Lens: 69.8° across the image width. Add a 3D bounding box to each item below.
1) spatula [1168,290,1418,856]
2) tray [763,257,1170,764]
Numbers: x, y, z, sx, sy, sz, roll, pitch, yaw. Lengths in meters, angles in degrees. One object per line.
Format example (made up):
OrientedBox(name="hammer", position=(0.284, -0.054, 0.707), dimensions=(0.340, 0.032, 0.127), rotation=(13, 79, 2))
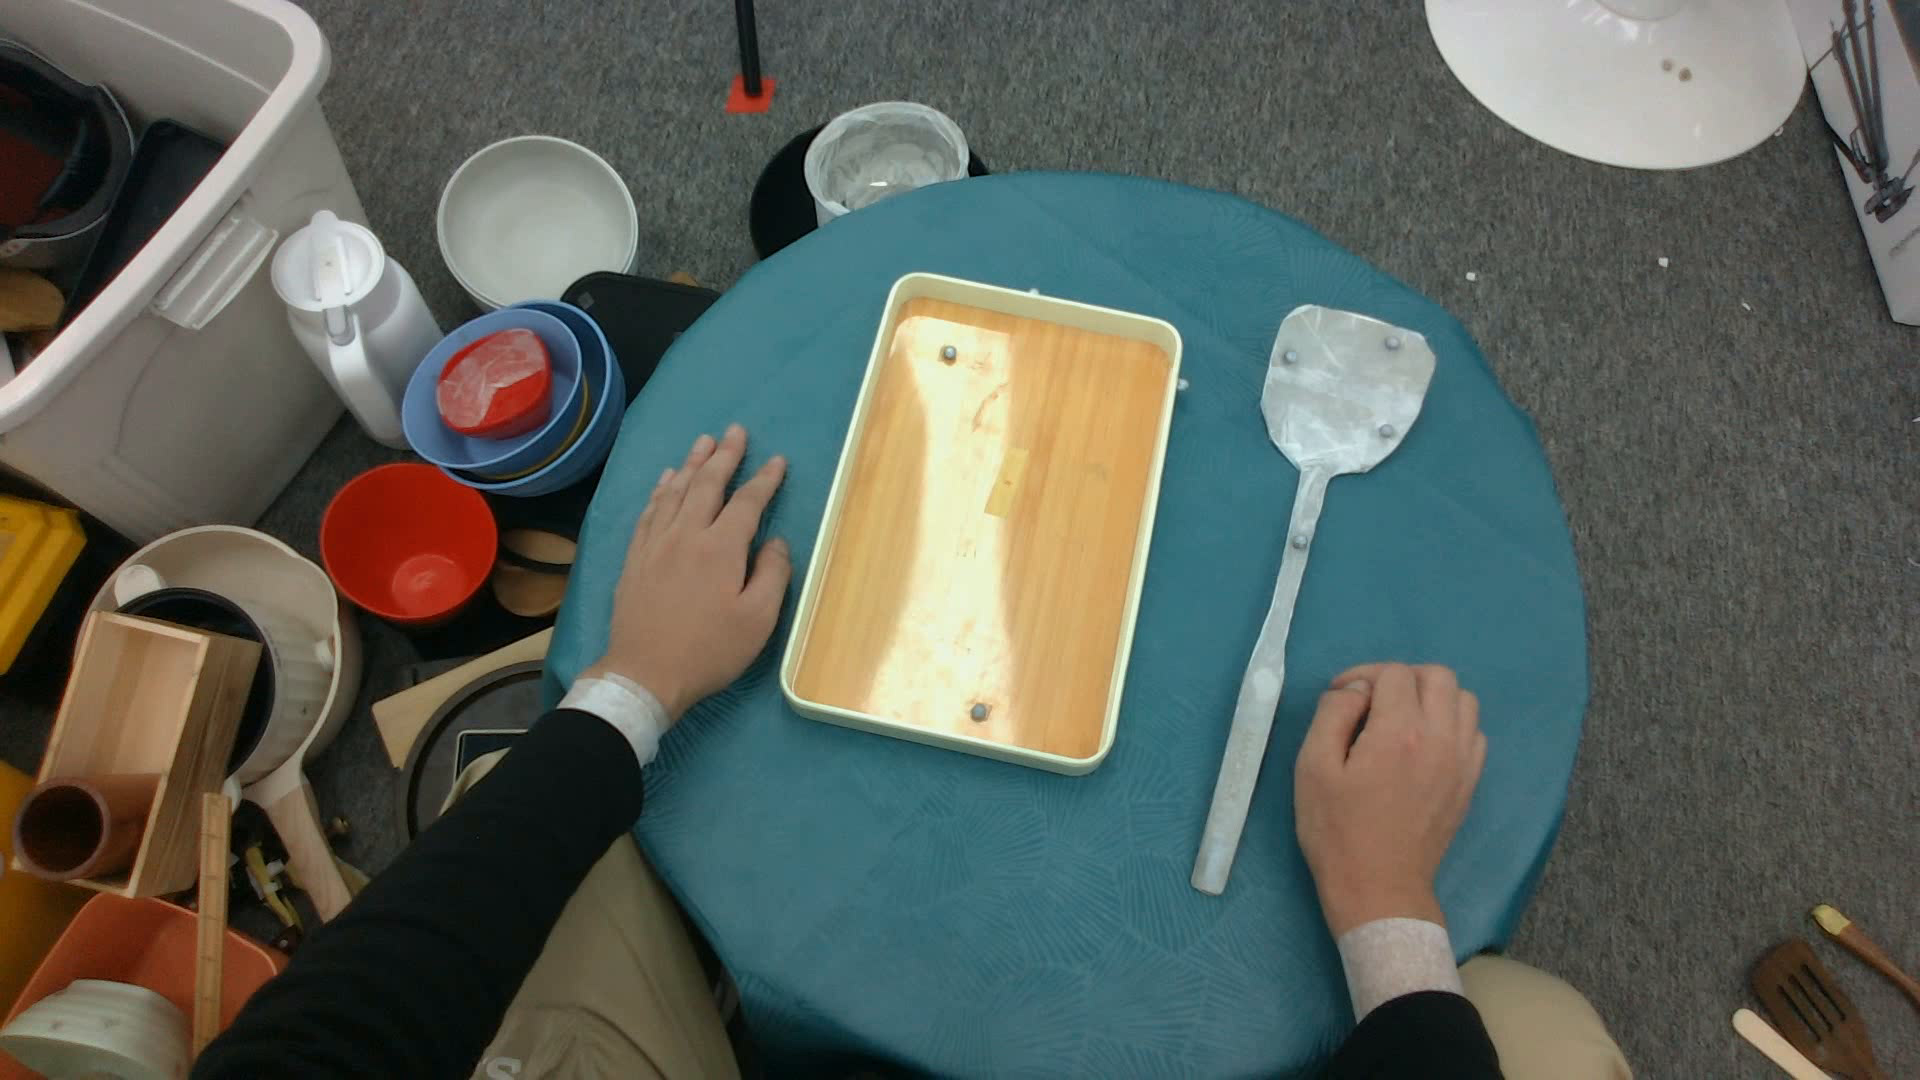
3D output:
OrientedBox(name="spatula", position=(0.185, 0.012, 0.807), dimensions=(0.098, 0.044, 0.366), rotation=(19, 65, 5))
OrientedBox(name="tray", position=(0.011, -0.027, 0.824), dimensions=(0.191, 0.027, 0.301), rotation=(12, 65, 3))
